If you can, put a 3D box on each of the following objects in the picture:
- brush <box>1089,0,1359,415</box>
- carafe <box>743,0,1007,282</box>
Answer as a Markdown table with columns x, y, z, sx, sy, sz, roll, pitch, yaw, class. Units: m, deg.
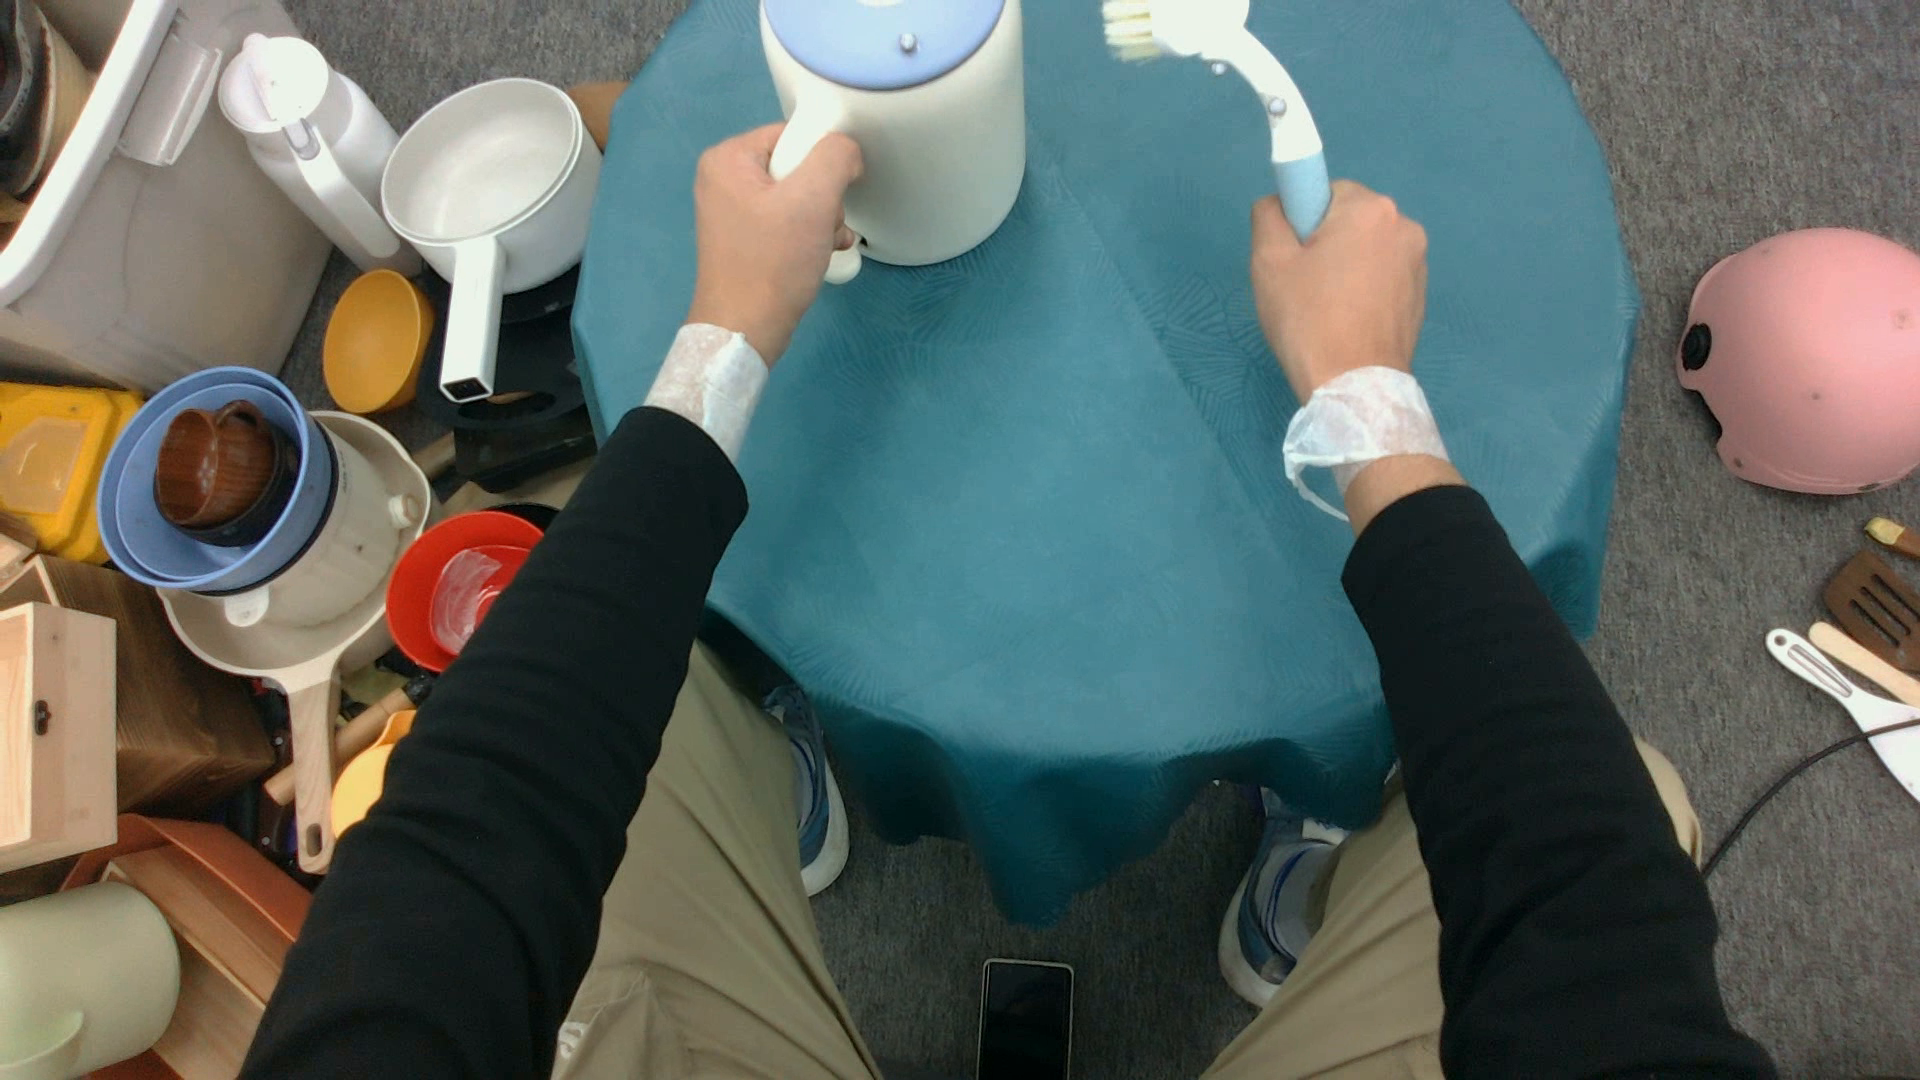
| x | y | z | sx | sy | sz | roll | pitch | yaw | class |
| --- | --- | --- | --- | --- | --- | --- | --- | --- | --- |
| 0.121 | -0.211 | 0.694 | 0.083 | 0.085 | 0.324 | -20 | 111 | 0 | brush |
| -0.053 | -0.229 | 0.734 | 0.132 | 0.182 | 0.191 | 26 | 77 | 10 | carafe |
